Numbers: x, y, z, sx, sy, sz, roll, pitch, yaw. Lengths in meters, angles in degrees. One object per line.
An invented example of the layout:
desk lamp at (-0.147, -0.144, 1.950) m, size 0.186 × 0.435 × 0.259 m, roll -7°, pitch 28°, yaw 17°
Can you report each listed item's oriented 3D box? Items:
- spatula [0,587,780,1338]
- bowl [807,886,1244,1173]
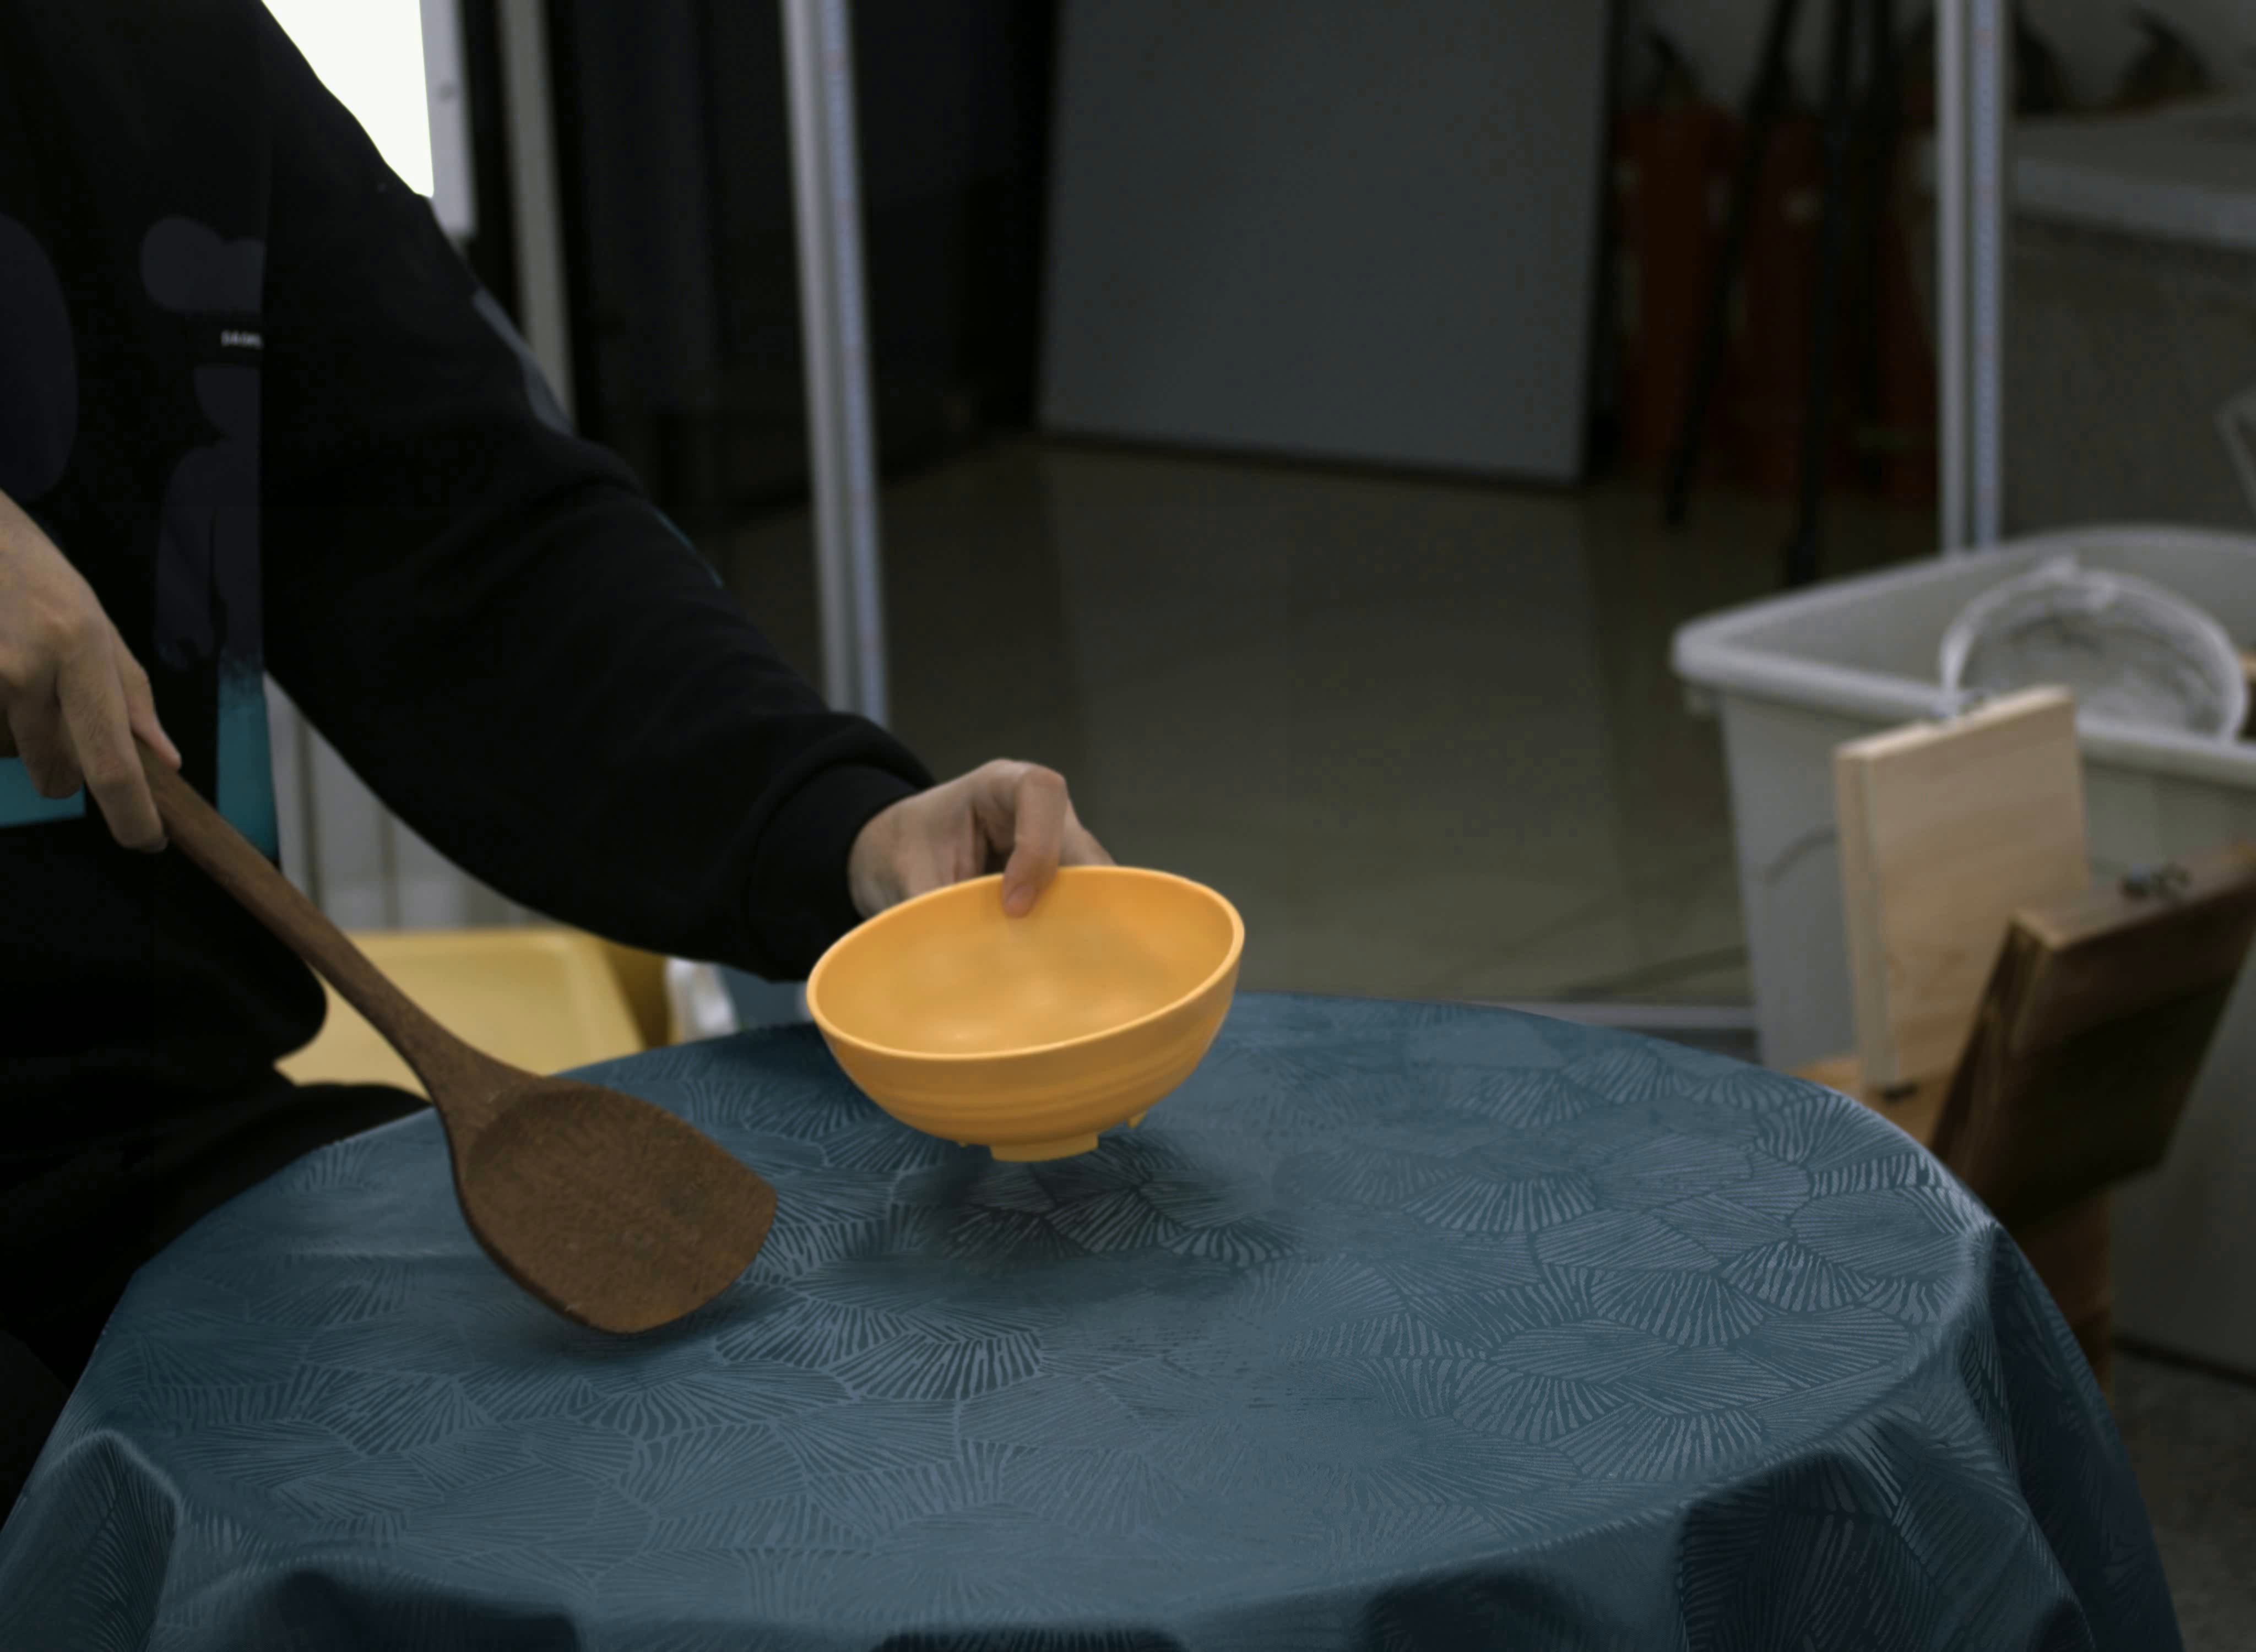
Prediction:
spatula at (-0.267, 0.023, 1.709) m, size 0.387 × 0.016 × 0.095 m, roll 41°, pitch 44°, yaw 13°
bowl at (-0.030, 0.073, 1.755) m, size 0.143 × 0.060 × 0.146 m, roll -8°, pitch 20°, yaw 2°
